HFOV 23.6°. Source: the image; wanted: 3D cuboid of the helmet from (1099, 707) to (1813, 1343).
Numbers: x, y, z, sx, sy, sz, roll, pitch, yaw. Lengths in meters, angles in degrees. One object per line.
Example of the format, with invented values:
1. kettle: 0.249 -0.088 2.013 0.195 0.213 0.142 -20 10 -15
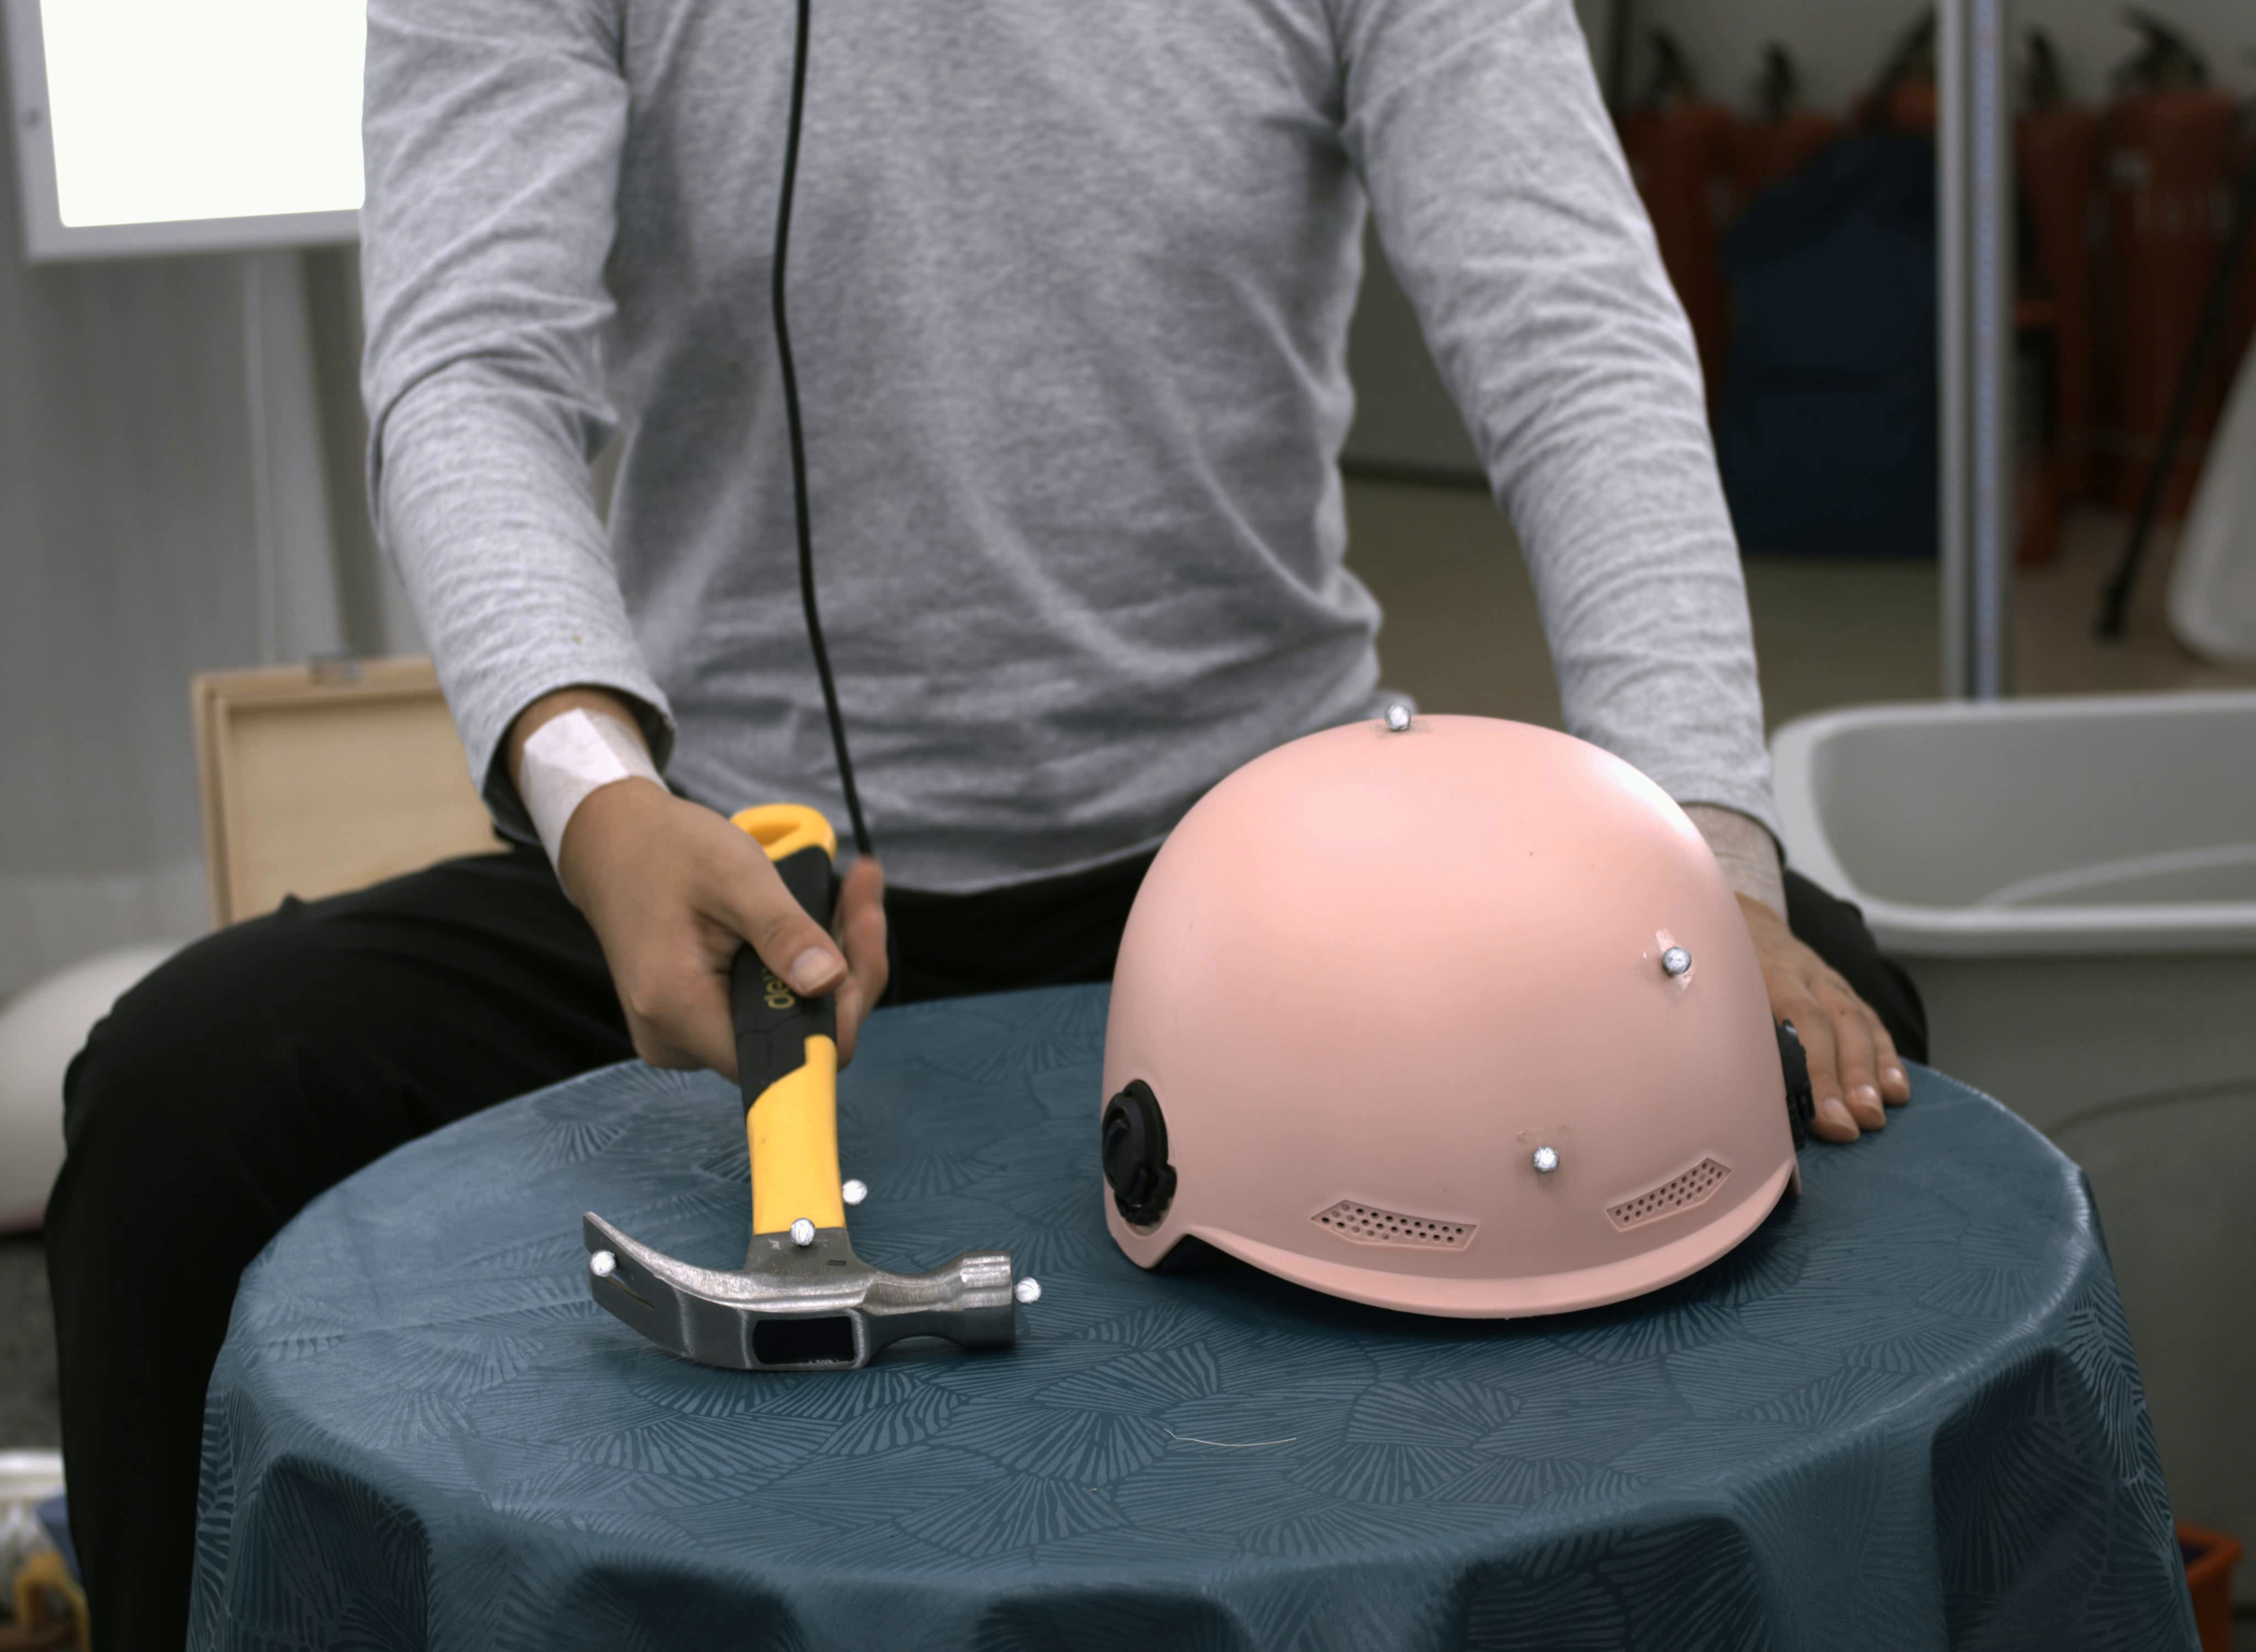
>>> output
1. helmet: 0.099 0.050 1.717 0.230 0.160 0.268 -6 18 -9

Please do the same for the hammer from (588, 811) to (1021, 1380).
1. hammer: -0.110 0.080 1.767 0.129 0.032 0.340 -6 27 -2
